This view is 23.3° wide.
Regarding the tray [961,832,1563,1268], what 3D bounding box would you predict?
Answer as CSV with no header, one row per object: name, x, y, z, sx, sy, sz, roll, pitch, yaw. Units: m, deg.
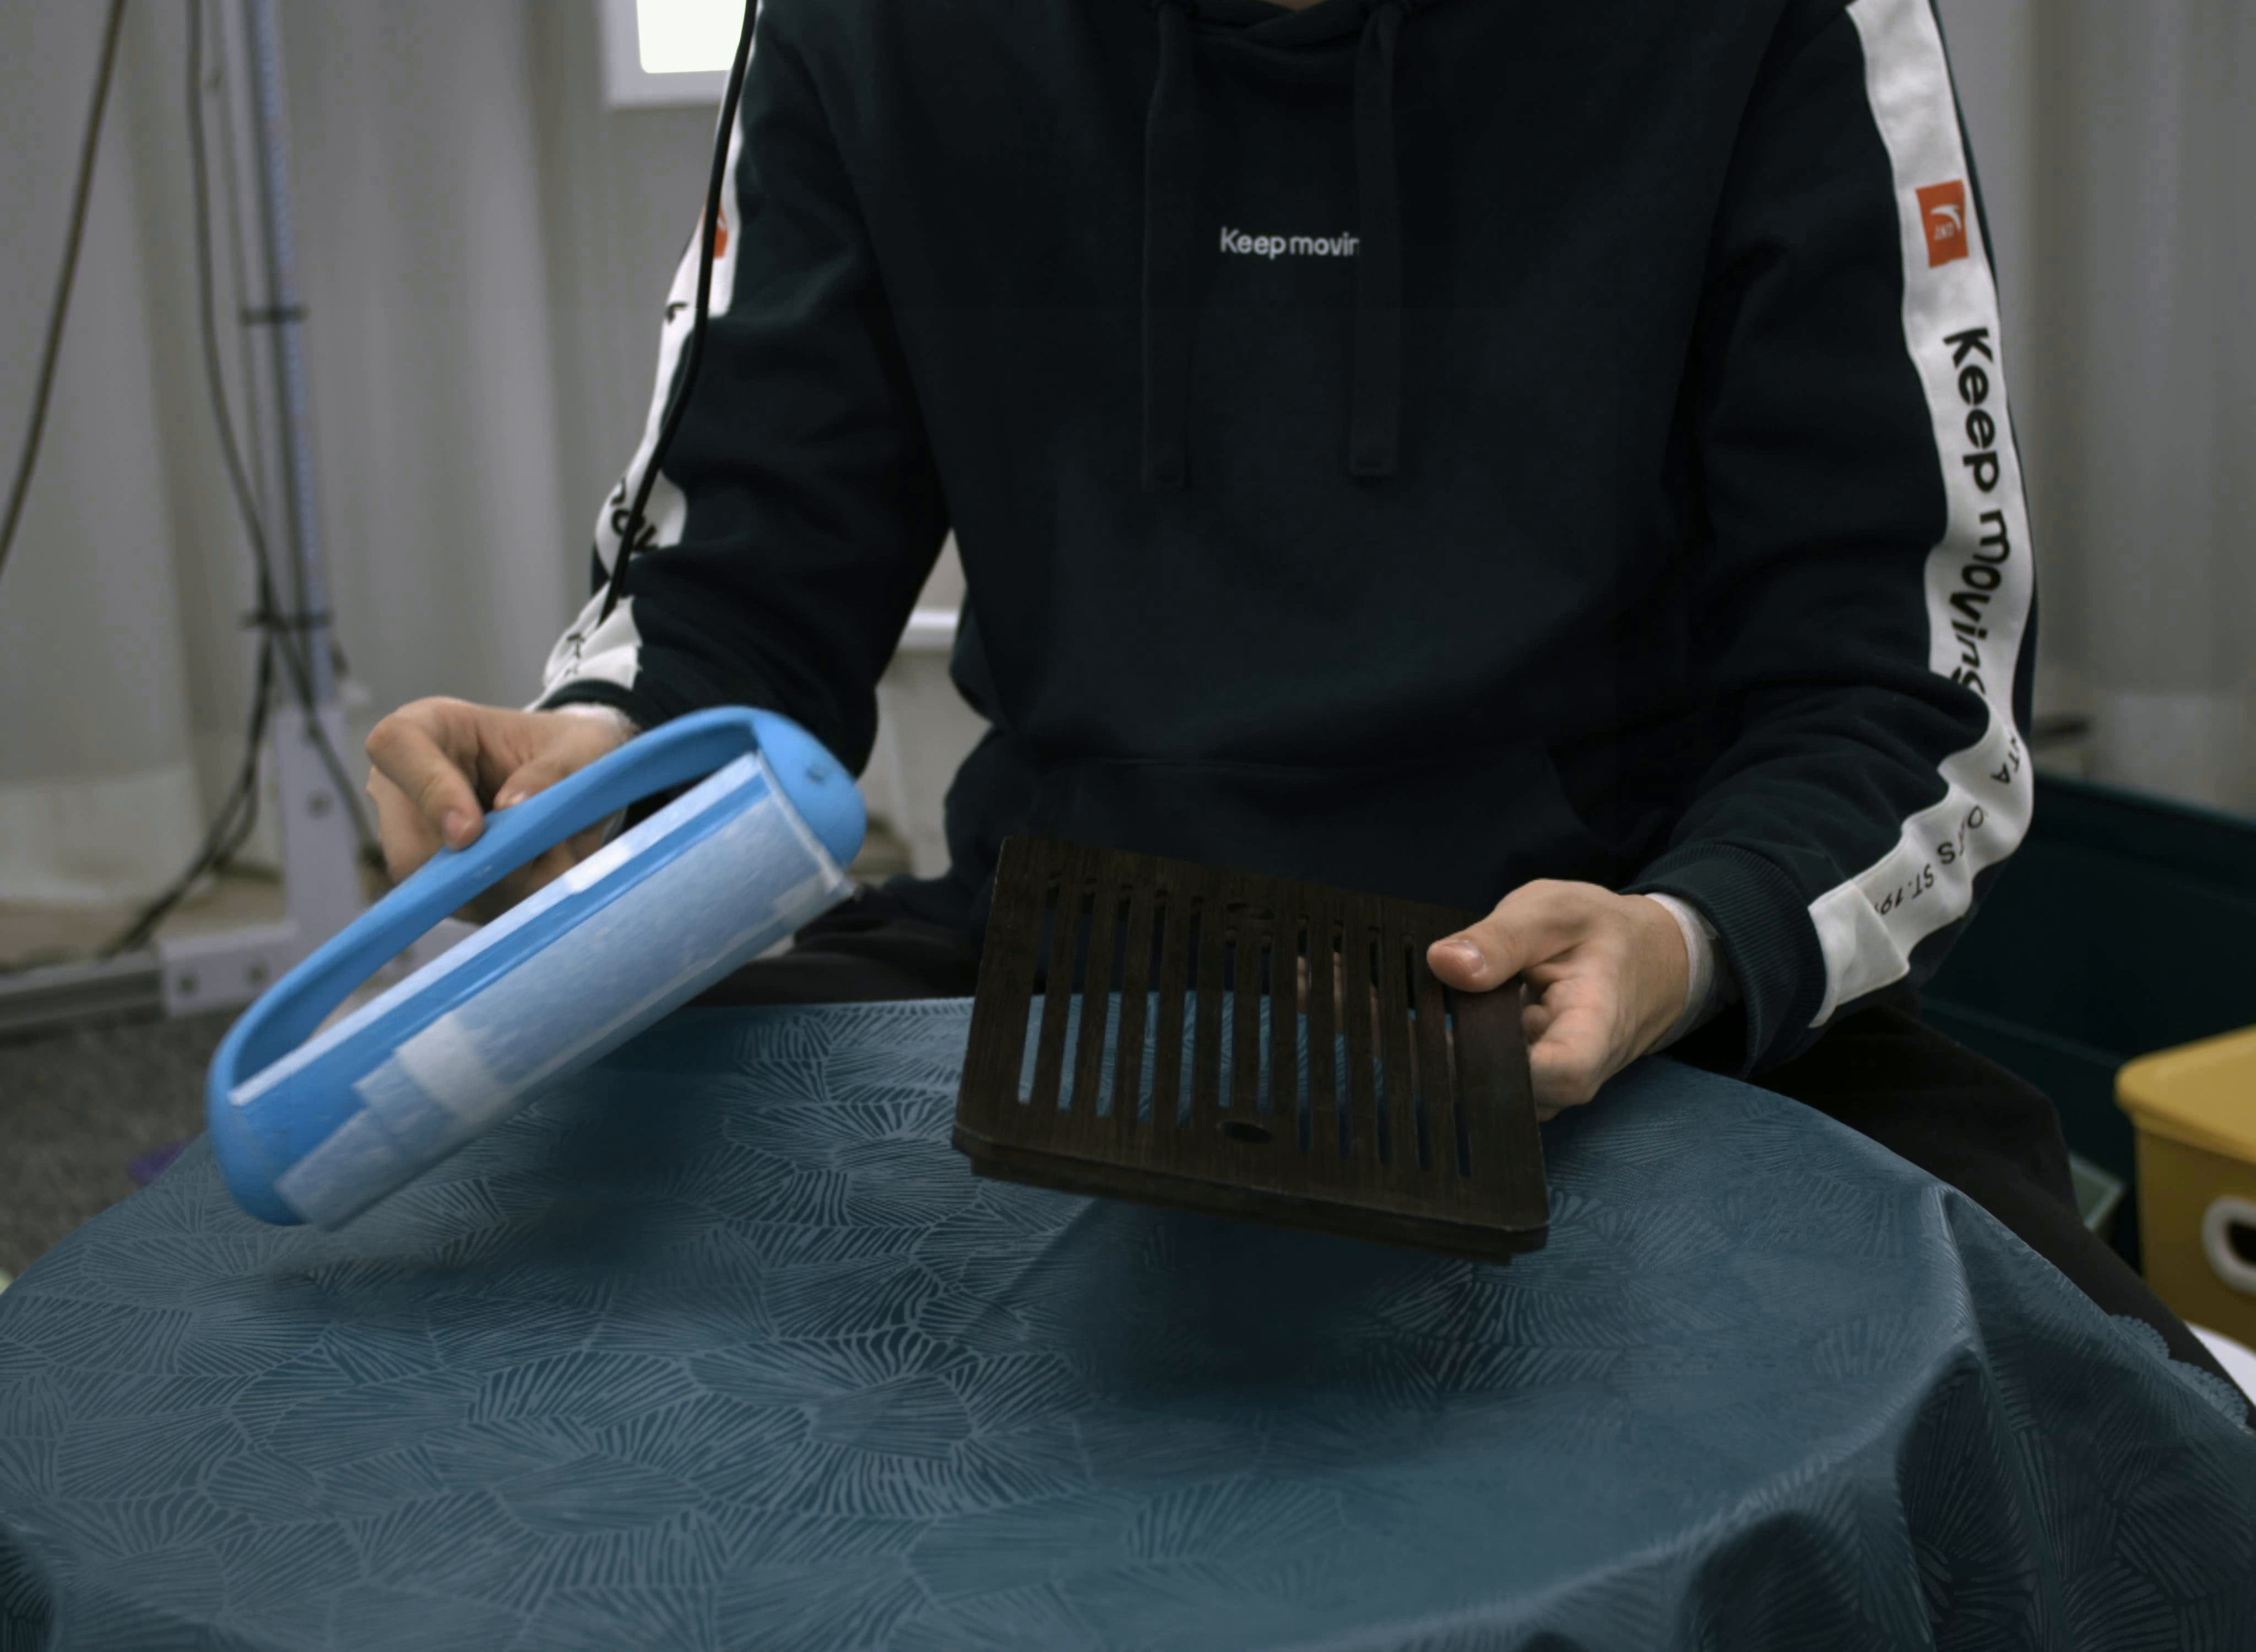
tray,0.039,0.065,1.650,0.169,0.018,0.308,10,16,-1

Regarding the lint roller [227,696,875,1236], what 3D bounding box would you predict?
lint roller,-0.189,0.027,1.724,0.229,0.067,0.182,-38,24,0
